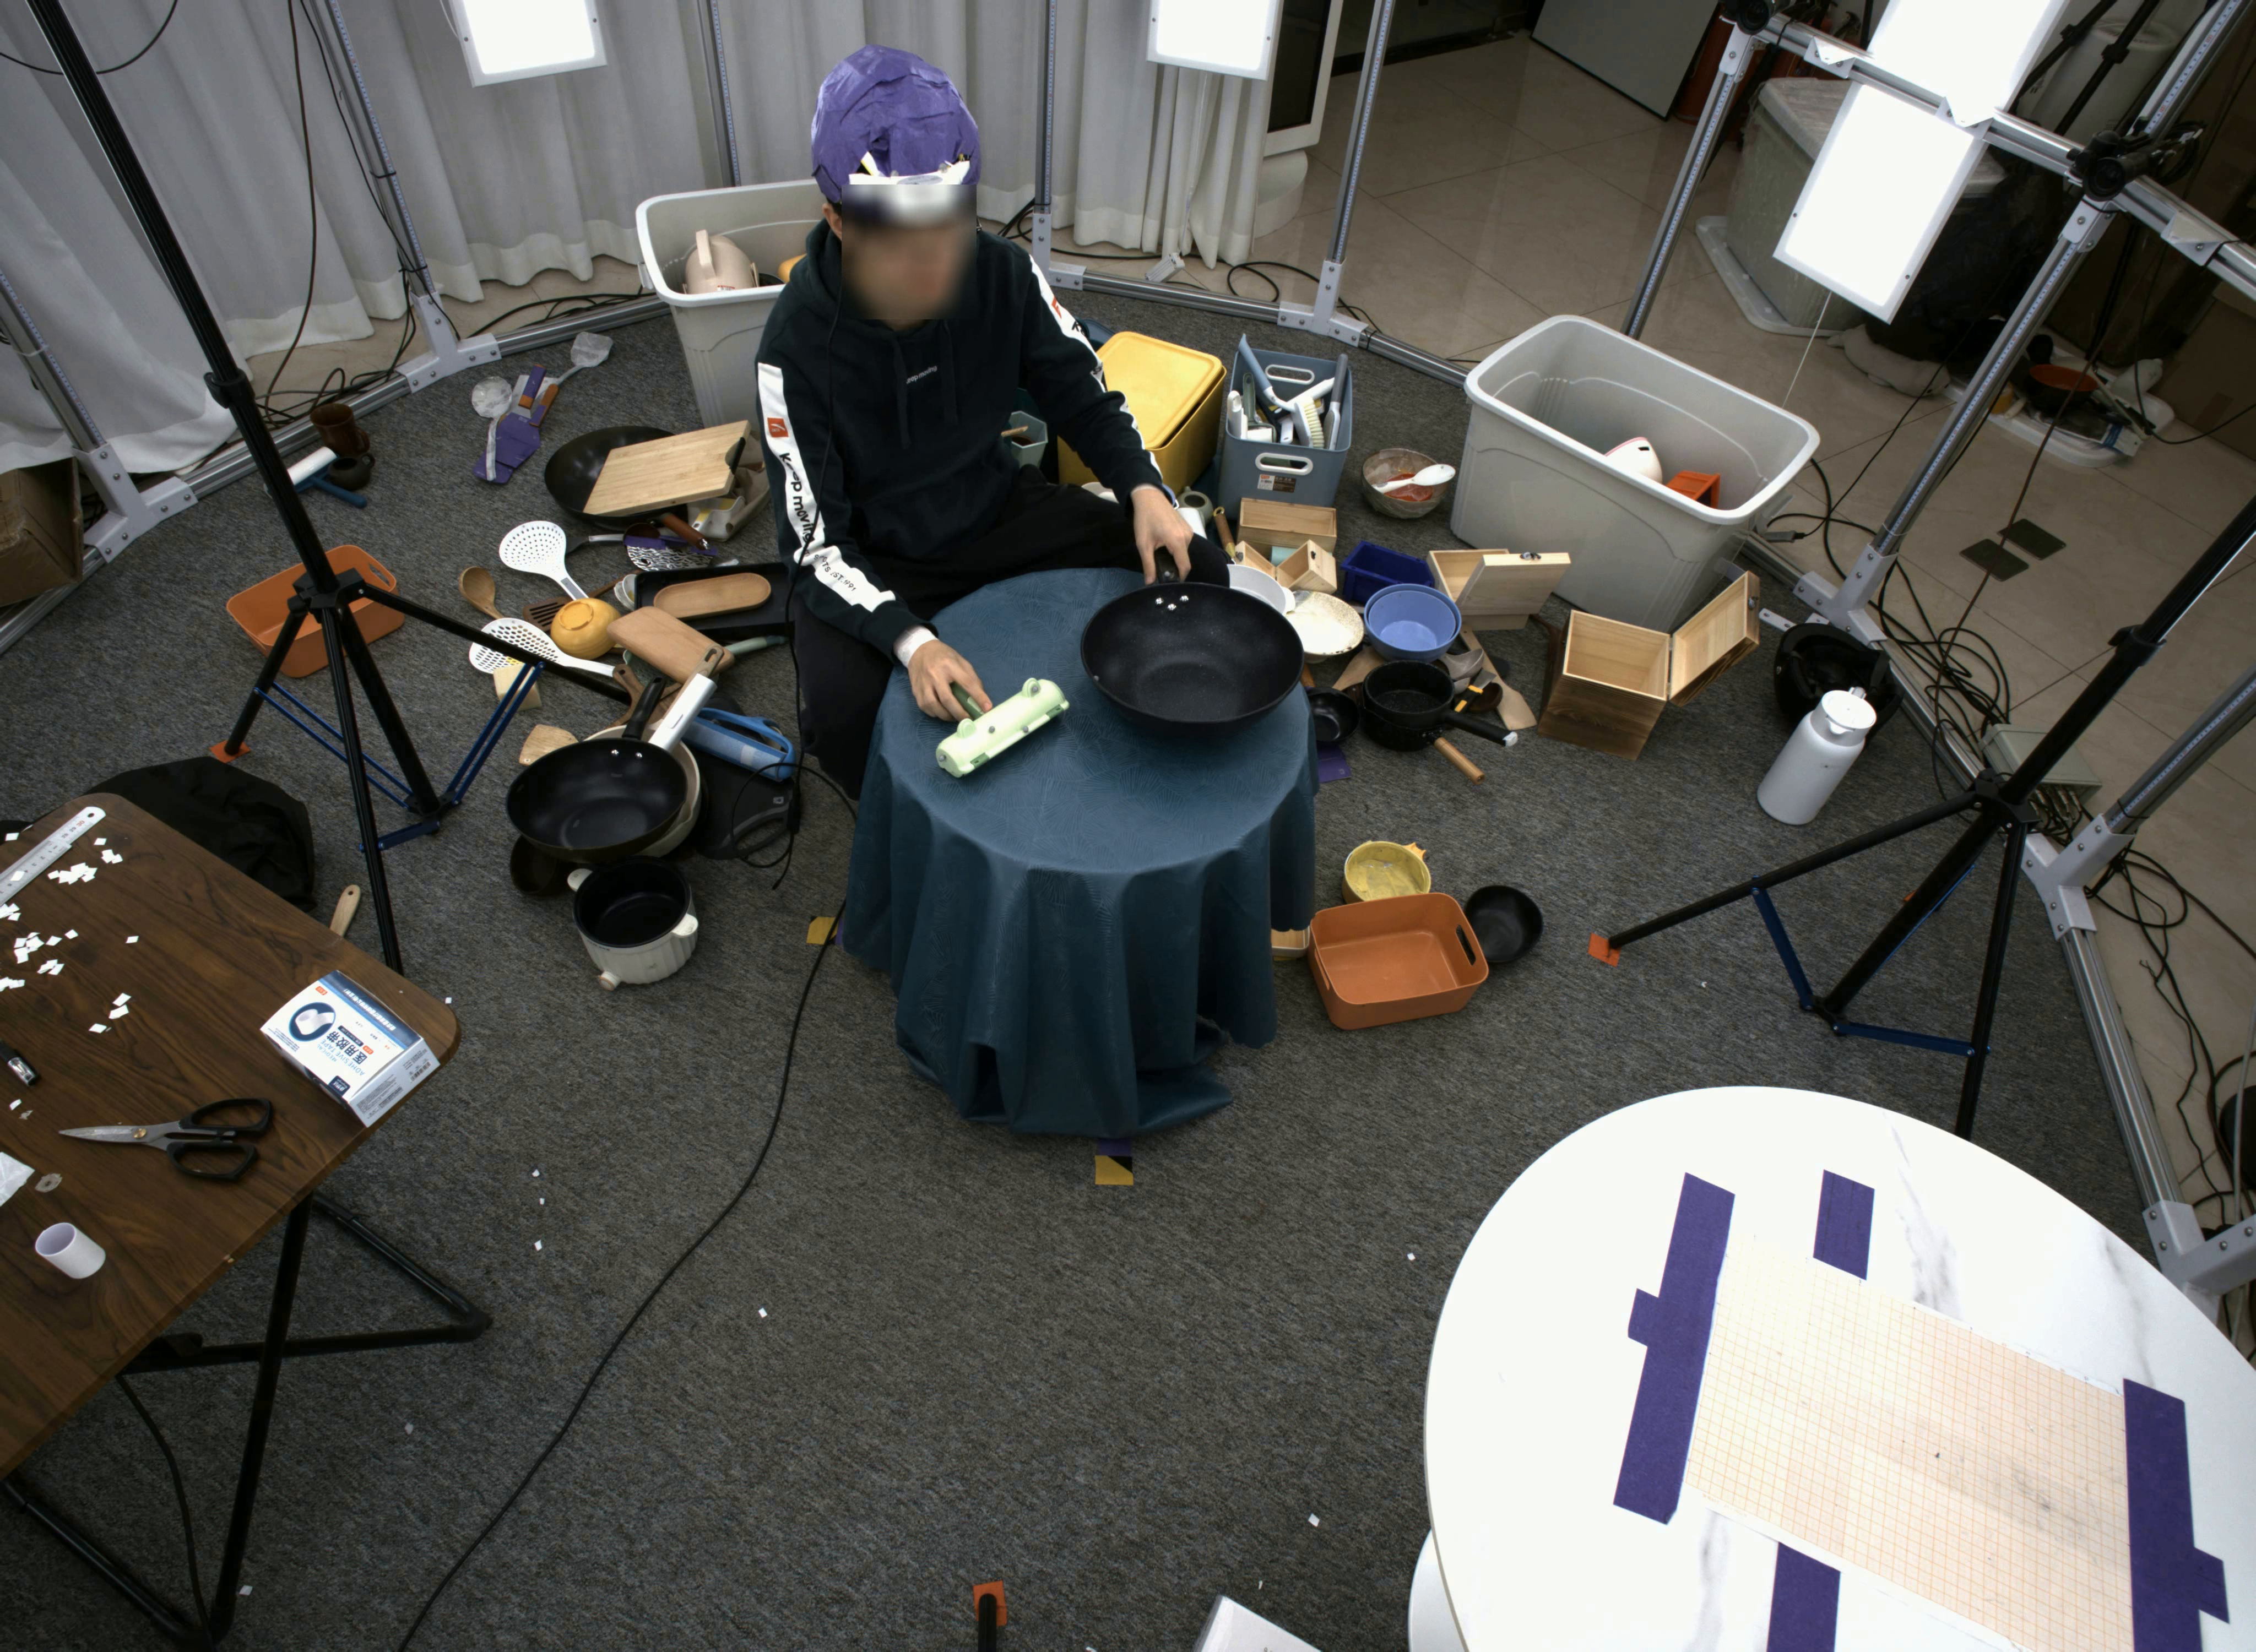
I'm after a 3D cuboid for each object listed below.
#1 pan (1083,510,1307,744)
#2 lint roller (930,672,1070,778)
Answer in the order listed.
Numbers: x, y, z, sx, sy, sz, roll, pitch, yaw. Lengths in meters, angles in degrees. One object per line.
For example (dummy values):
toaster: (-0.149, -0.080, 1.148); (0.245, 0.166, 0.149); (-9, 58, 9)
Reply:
pan: (0.076, -0.279, 1.848); (0.310, 0.109, 0.489); (-5, 45, -9)
lint roller: (-0.208, -0.172, 1.756); (0.200, 0.080, 0.186); (-36, 64, -29)
